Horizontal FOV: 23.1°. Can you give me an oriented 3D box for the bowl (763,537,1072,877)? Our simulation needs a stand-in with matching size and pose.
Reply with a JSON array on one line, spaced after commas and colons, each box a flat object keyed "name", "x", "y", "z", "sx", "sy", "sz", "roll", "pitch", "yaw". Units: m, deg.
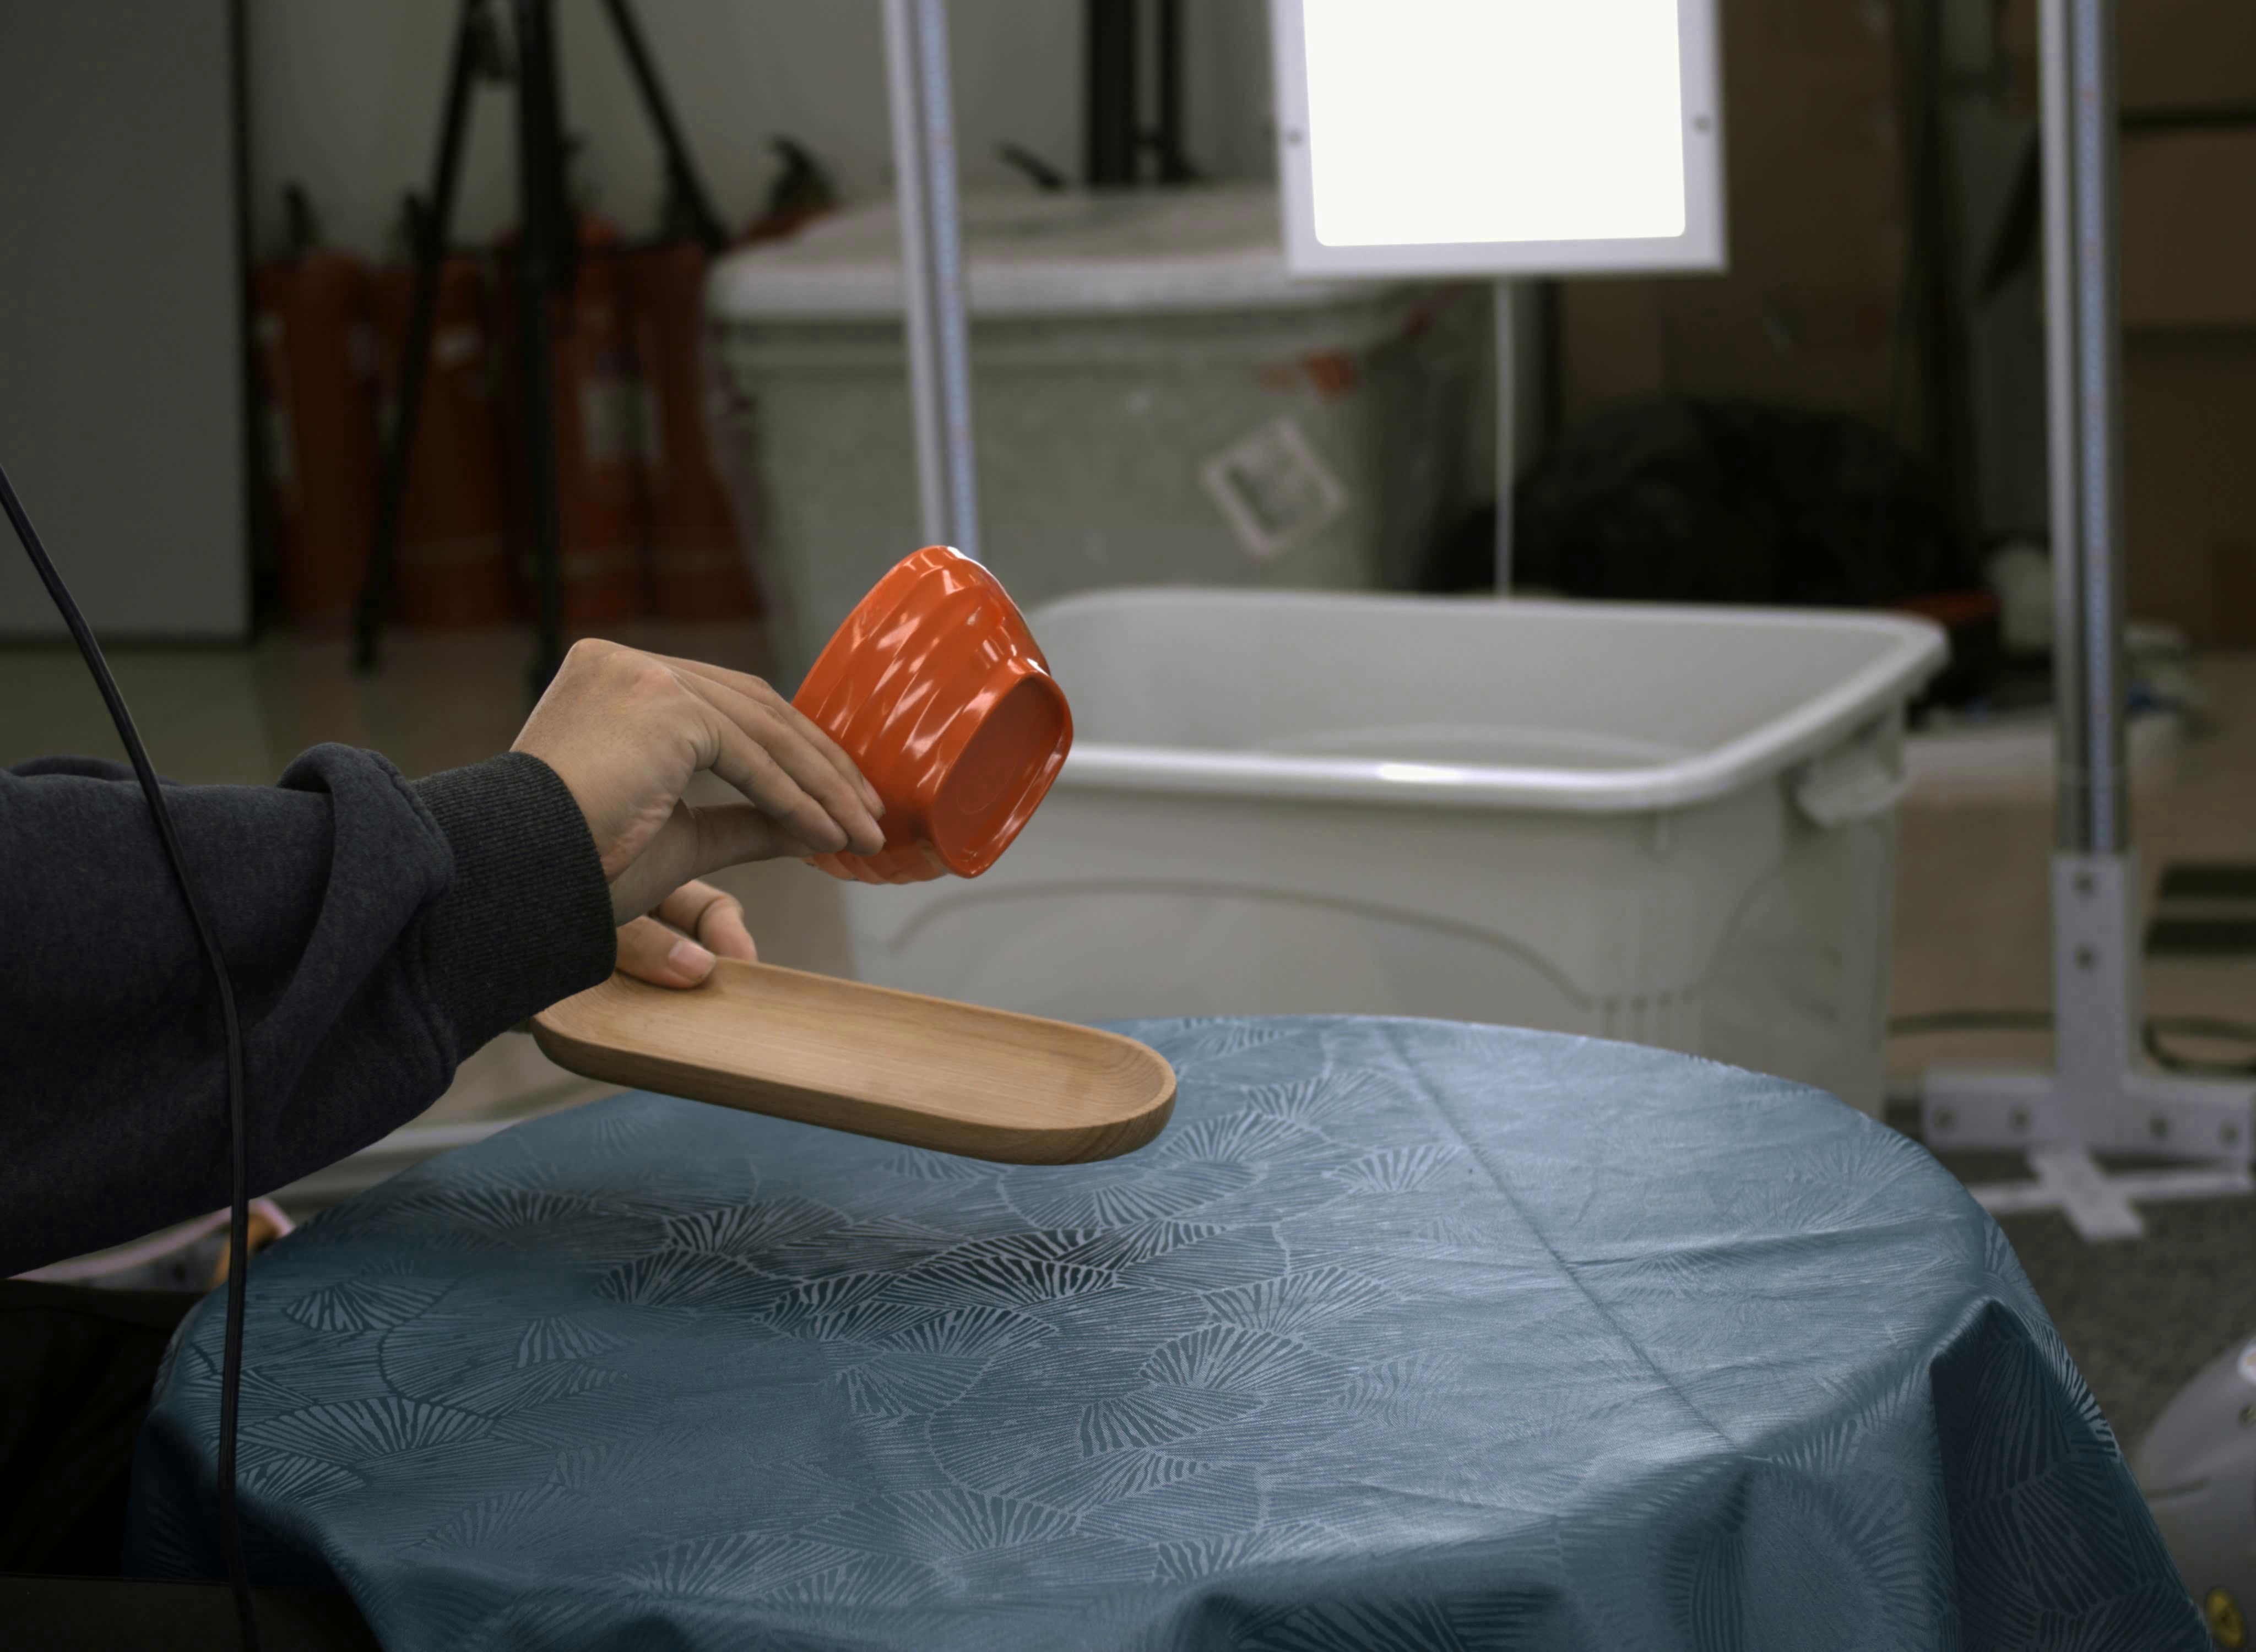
[{"name": "bowl", "x": -0.060, "y": -0.029, "z": 1.752, "sx": 0.052, "sy": 0.120, "sz": 0.116, "roll": 32, "pitch": 30, "yaw": 25}]

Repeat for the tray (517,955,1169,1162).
[{"name": "tray", "x": -0.097, "y": 0.077, "z": 1.847, "sx": 0.234, "sy": 0.020, "sz": 0.099, "roll": 8, "pitch": 18, "yaw": 23}]
